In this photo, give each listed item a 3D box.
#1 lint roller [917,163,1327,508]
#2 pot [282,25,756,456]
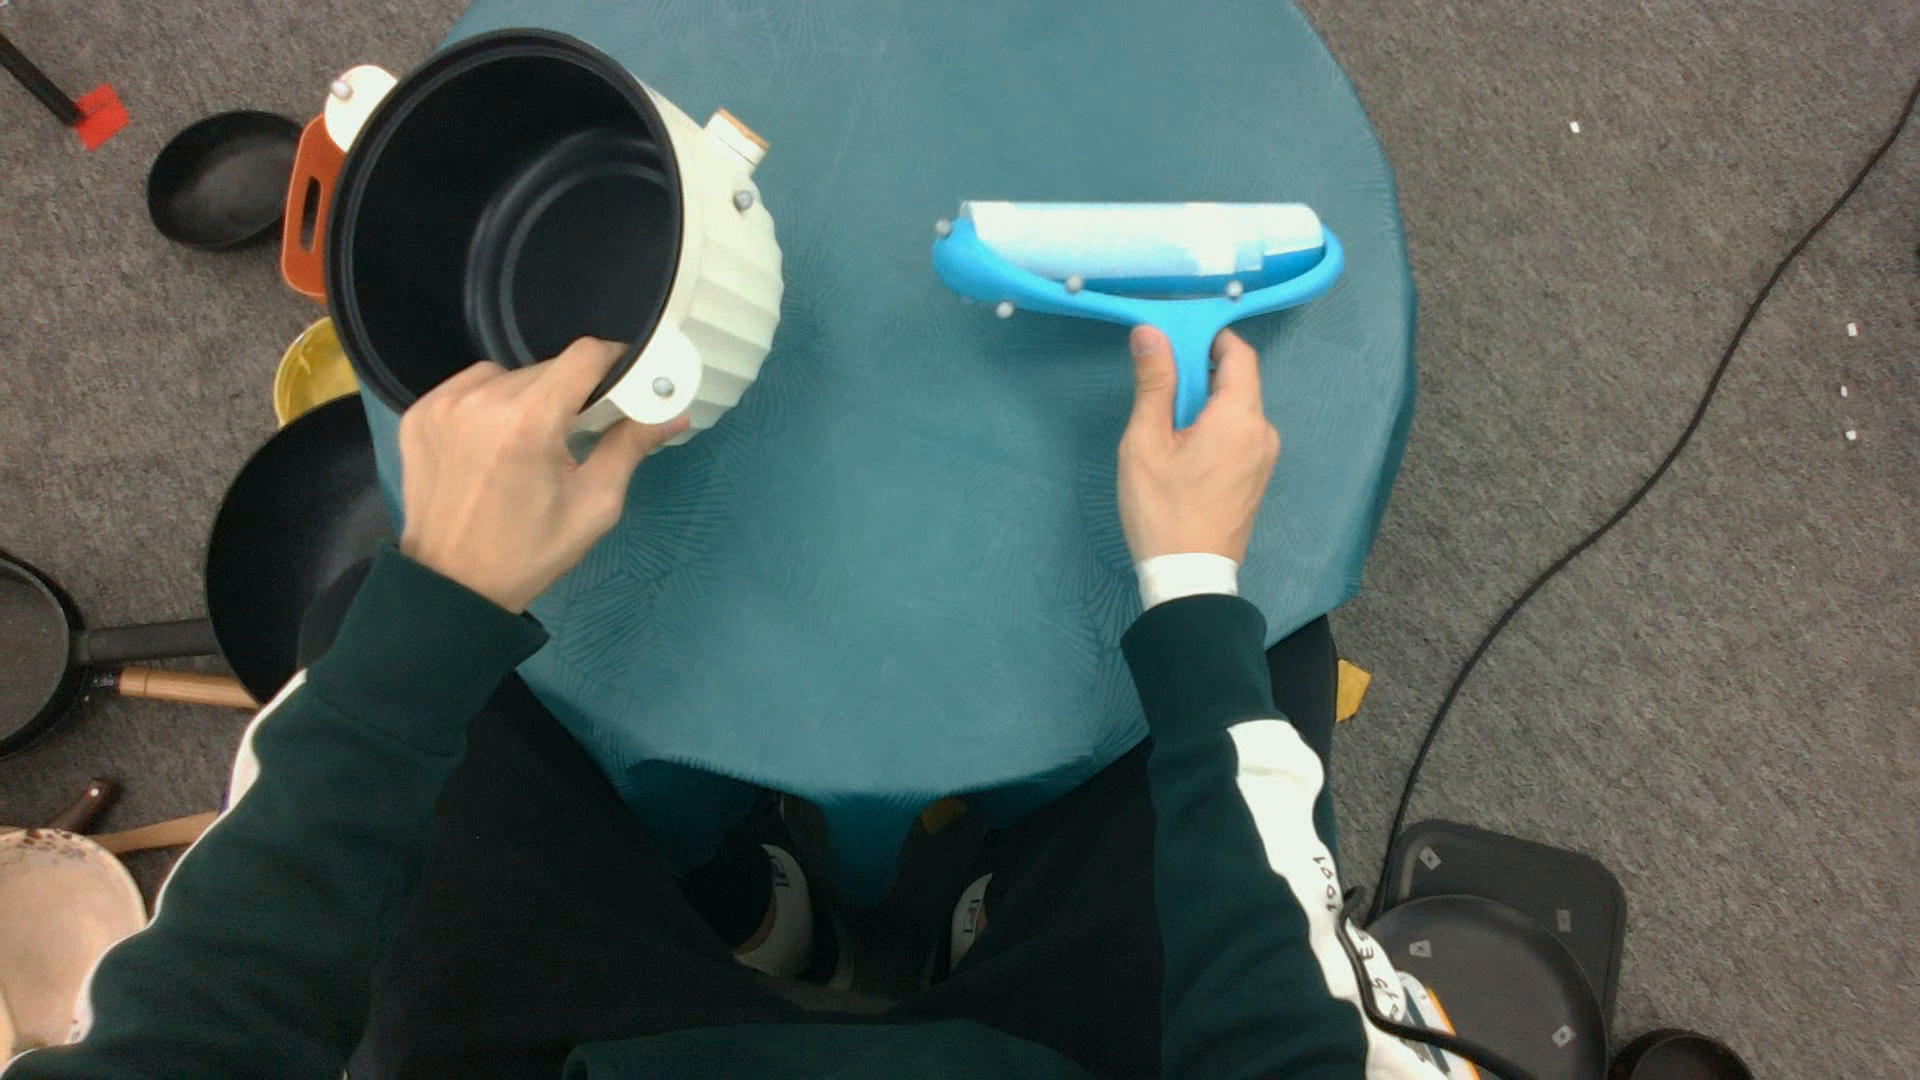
[{"bbox_3d":[0.102,-0.111,0.706,0.229,0.067,0.180,-10,76,-23],"label":"lint roller"},{"bbox_3d":[-0.191,-0.134,0.650,0.240,0.143,0.190,39,103,13],"label":"pot"}]
